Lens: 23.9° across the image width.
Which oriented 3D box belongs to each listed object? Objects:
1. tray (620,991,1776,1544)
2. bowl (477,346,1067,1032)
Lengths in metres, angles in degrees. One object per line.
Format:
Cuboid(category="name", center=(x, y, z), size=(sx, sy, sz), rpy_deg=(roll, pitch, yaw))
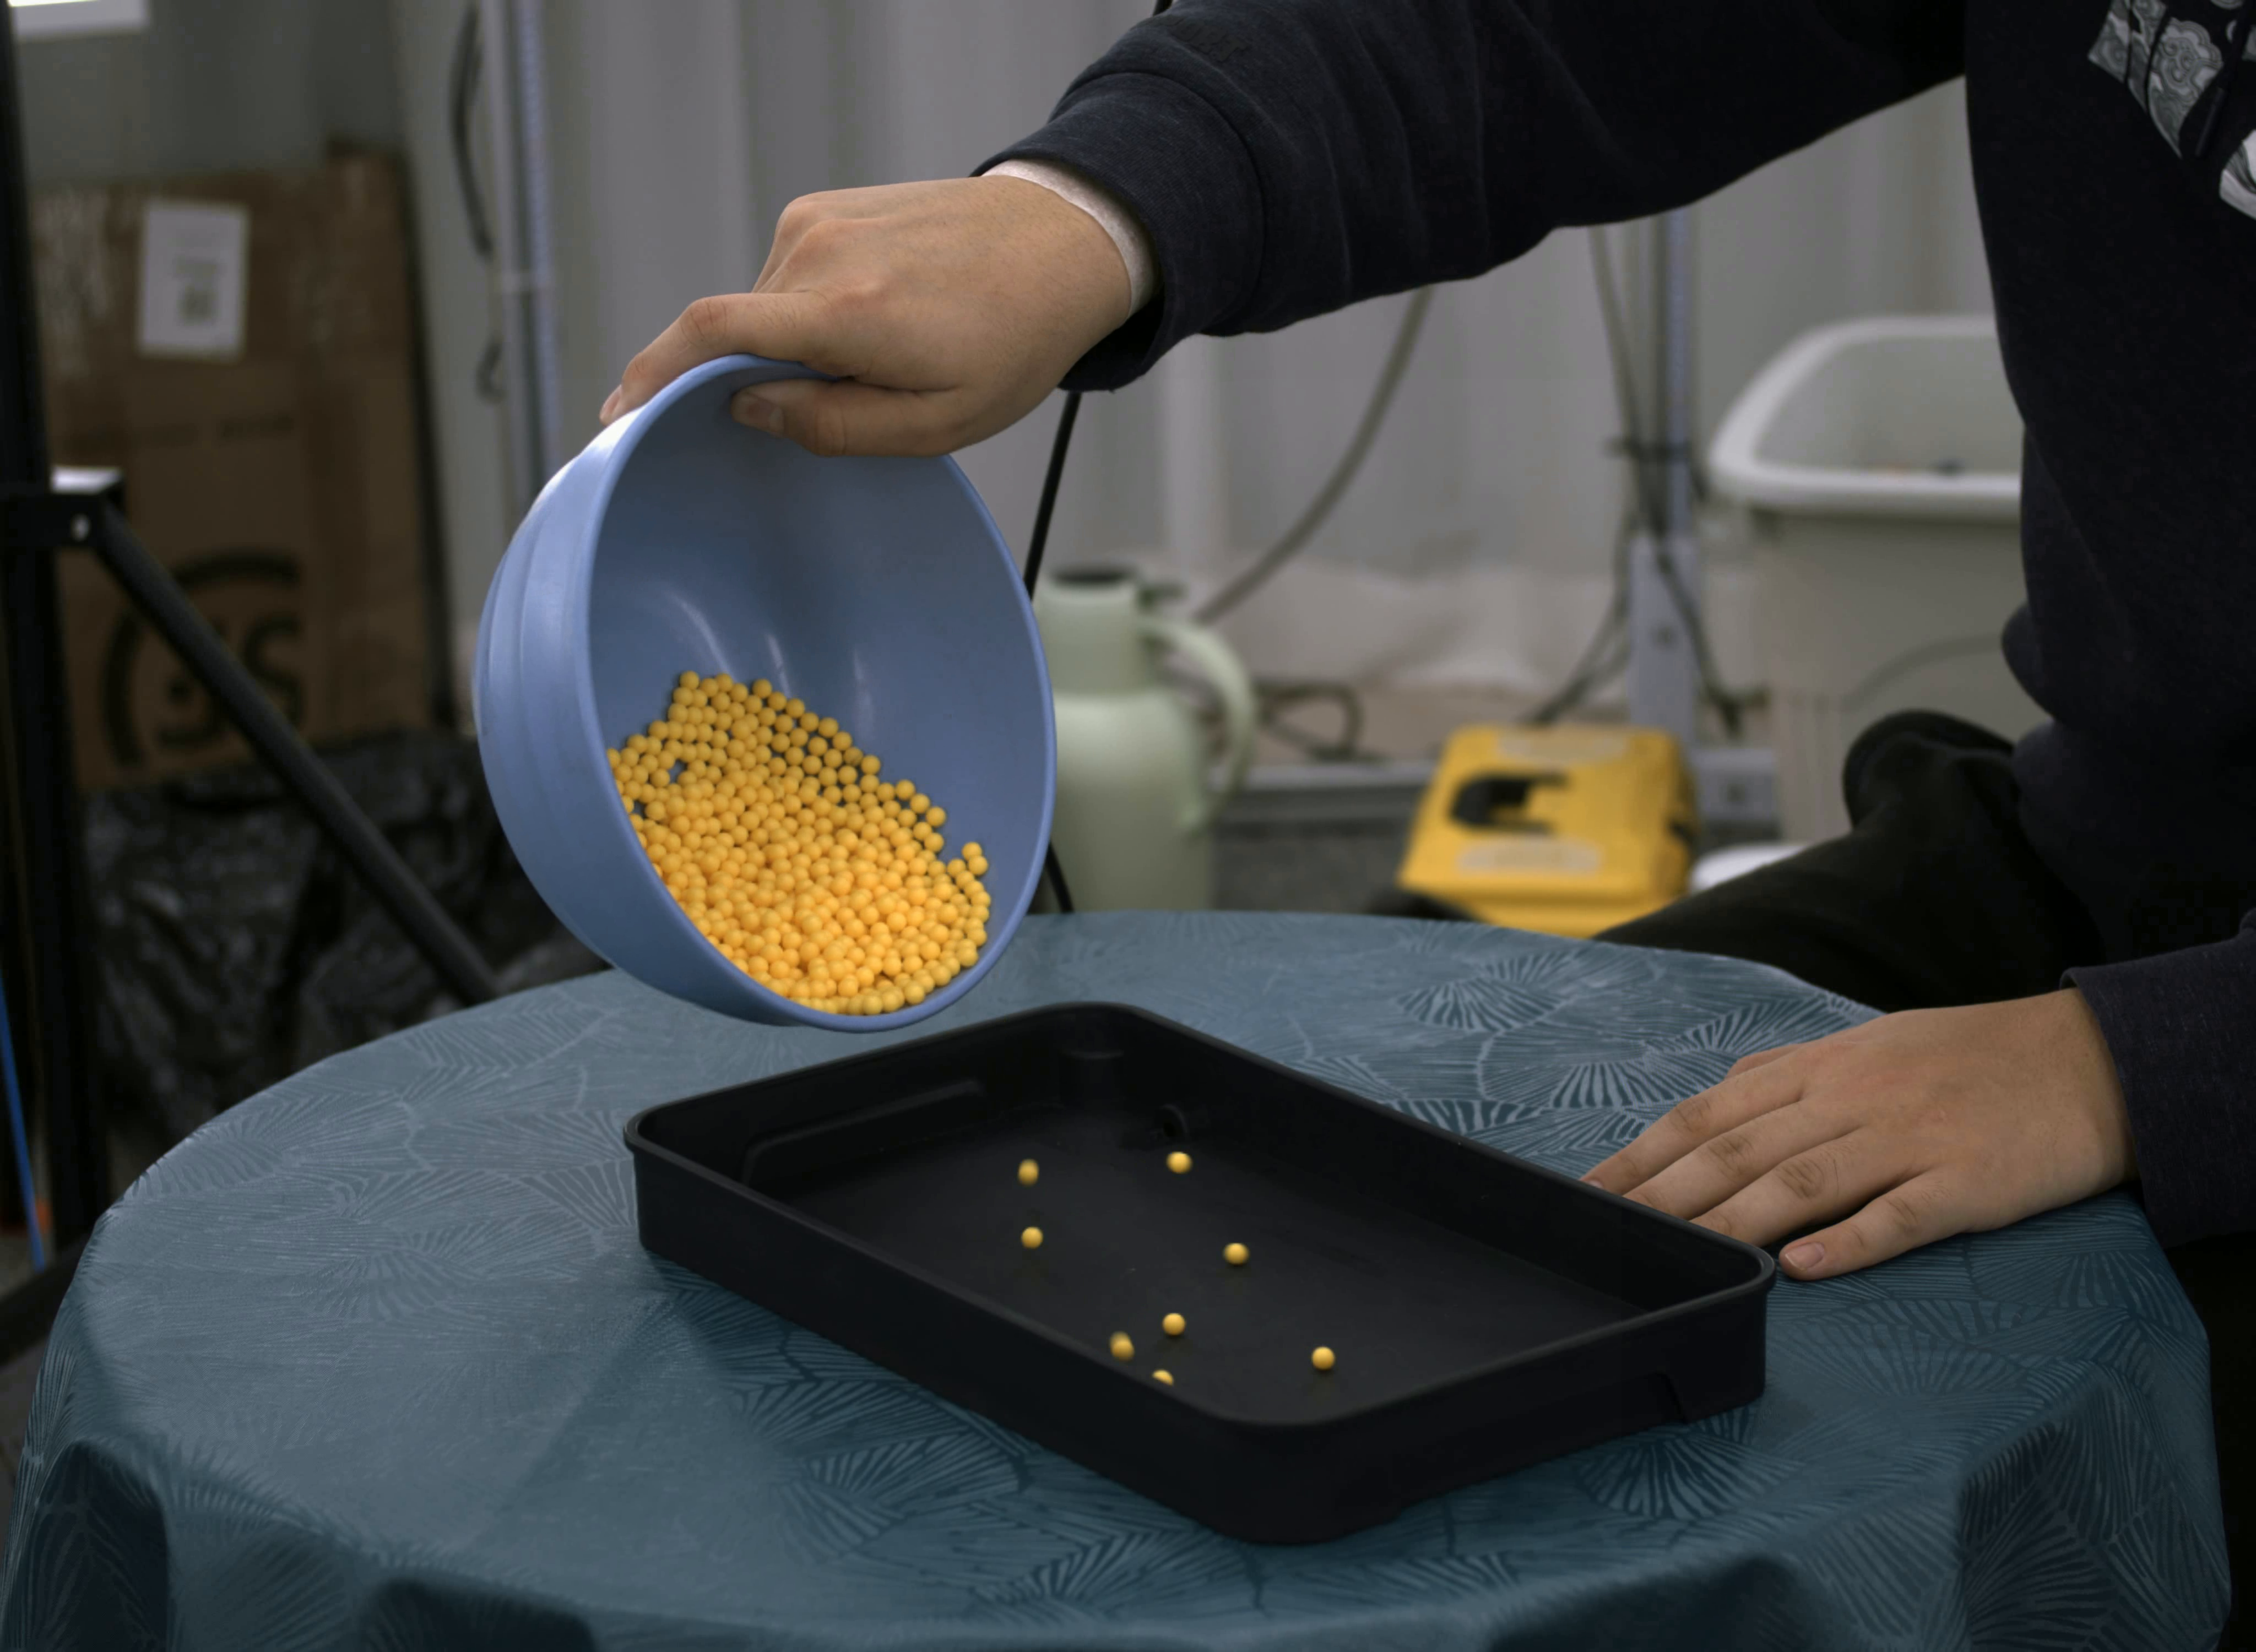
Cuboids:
Cuboid(category="tray", center=(0.013, 0.115, 1.462), size=(0.180, 0.037, 0.325), rpy_deg=(-13, 19, -33))
Cuboid(category="bowl", center=(-0.117, -0.032, 1.538), size=(0.097, 0.197, 0.192), rpy_deg=(-14, 4, 42))
